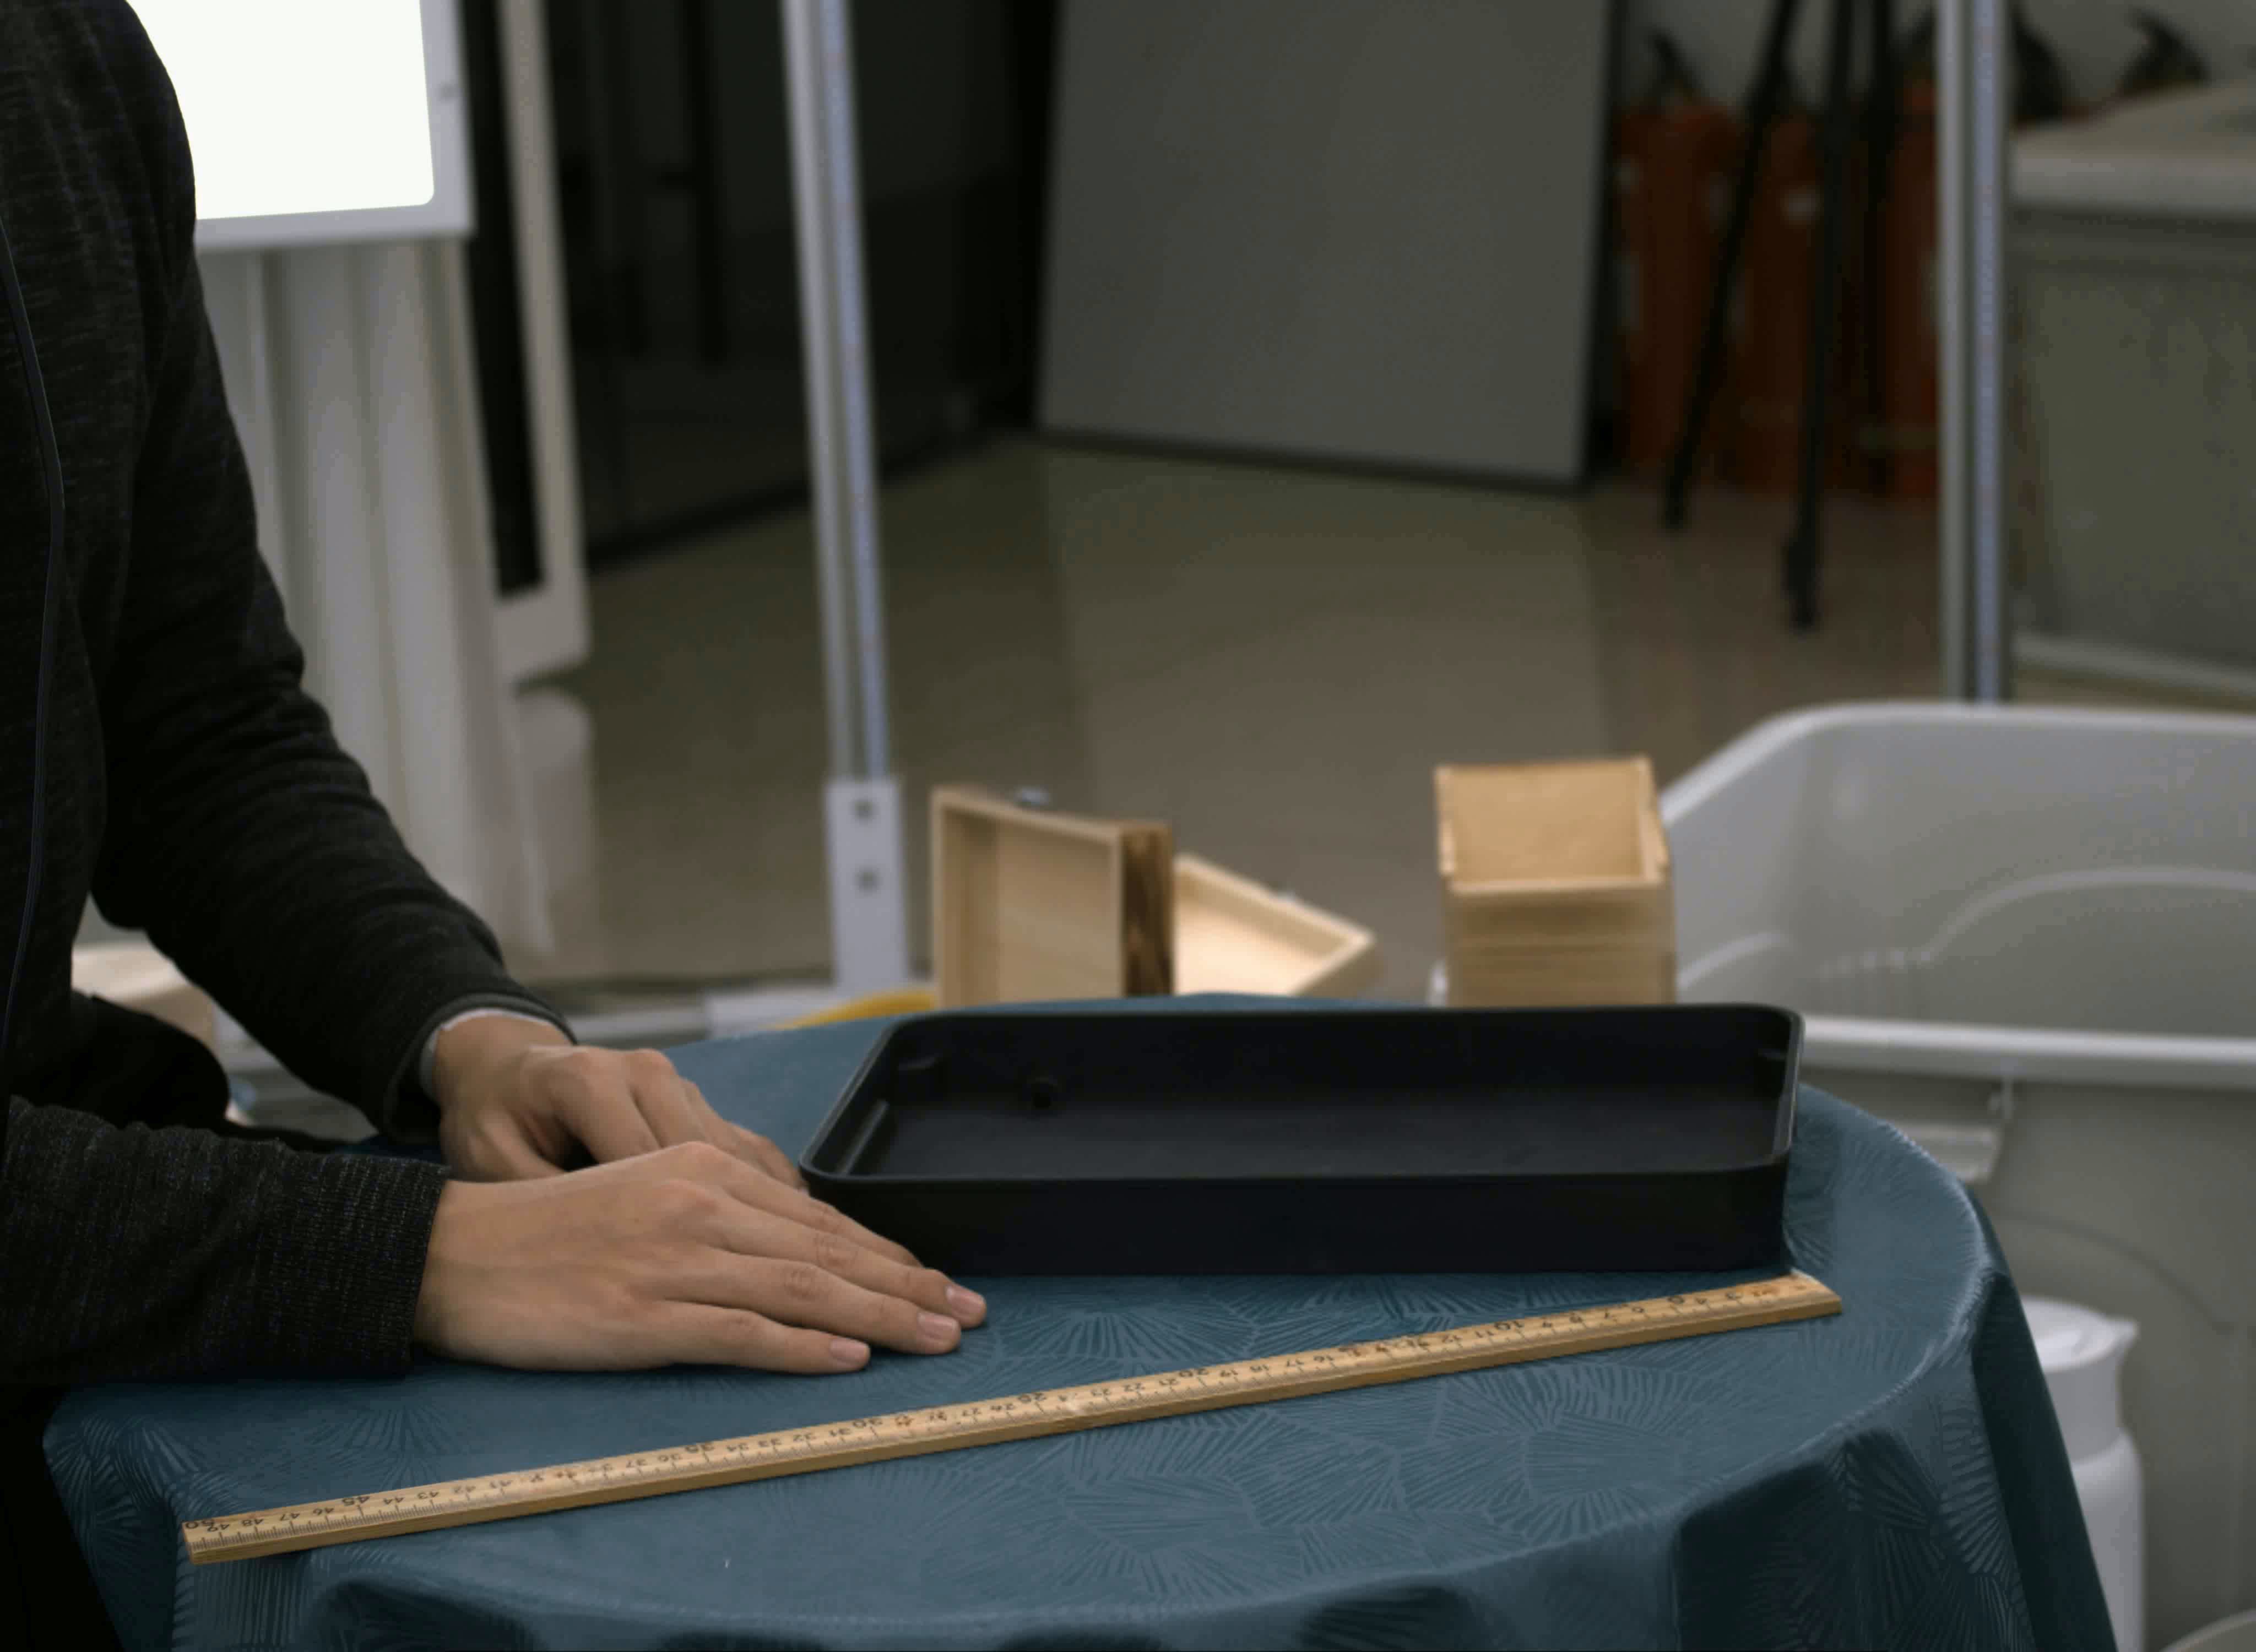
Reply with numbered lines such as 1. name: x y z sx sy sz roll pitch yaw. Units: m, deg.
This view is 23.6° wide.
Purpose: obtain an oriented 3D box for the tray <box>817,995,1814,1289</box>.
1. tray: 0.067 0.101 1.756 0.315 0.037 0.183 -3 14 9

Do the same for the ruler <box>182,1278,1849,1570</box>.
1. ruler: -0.025 0.171 1.563 0.491 0.006 0.027 -7 12 -12
